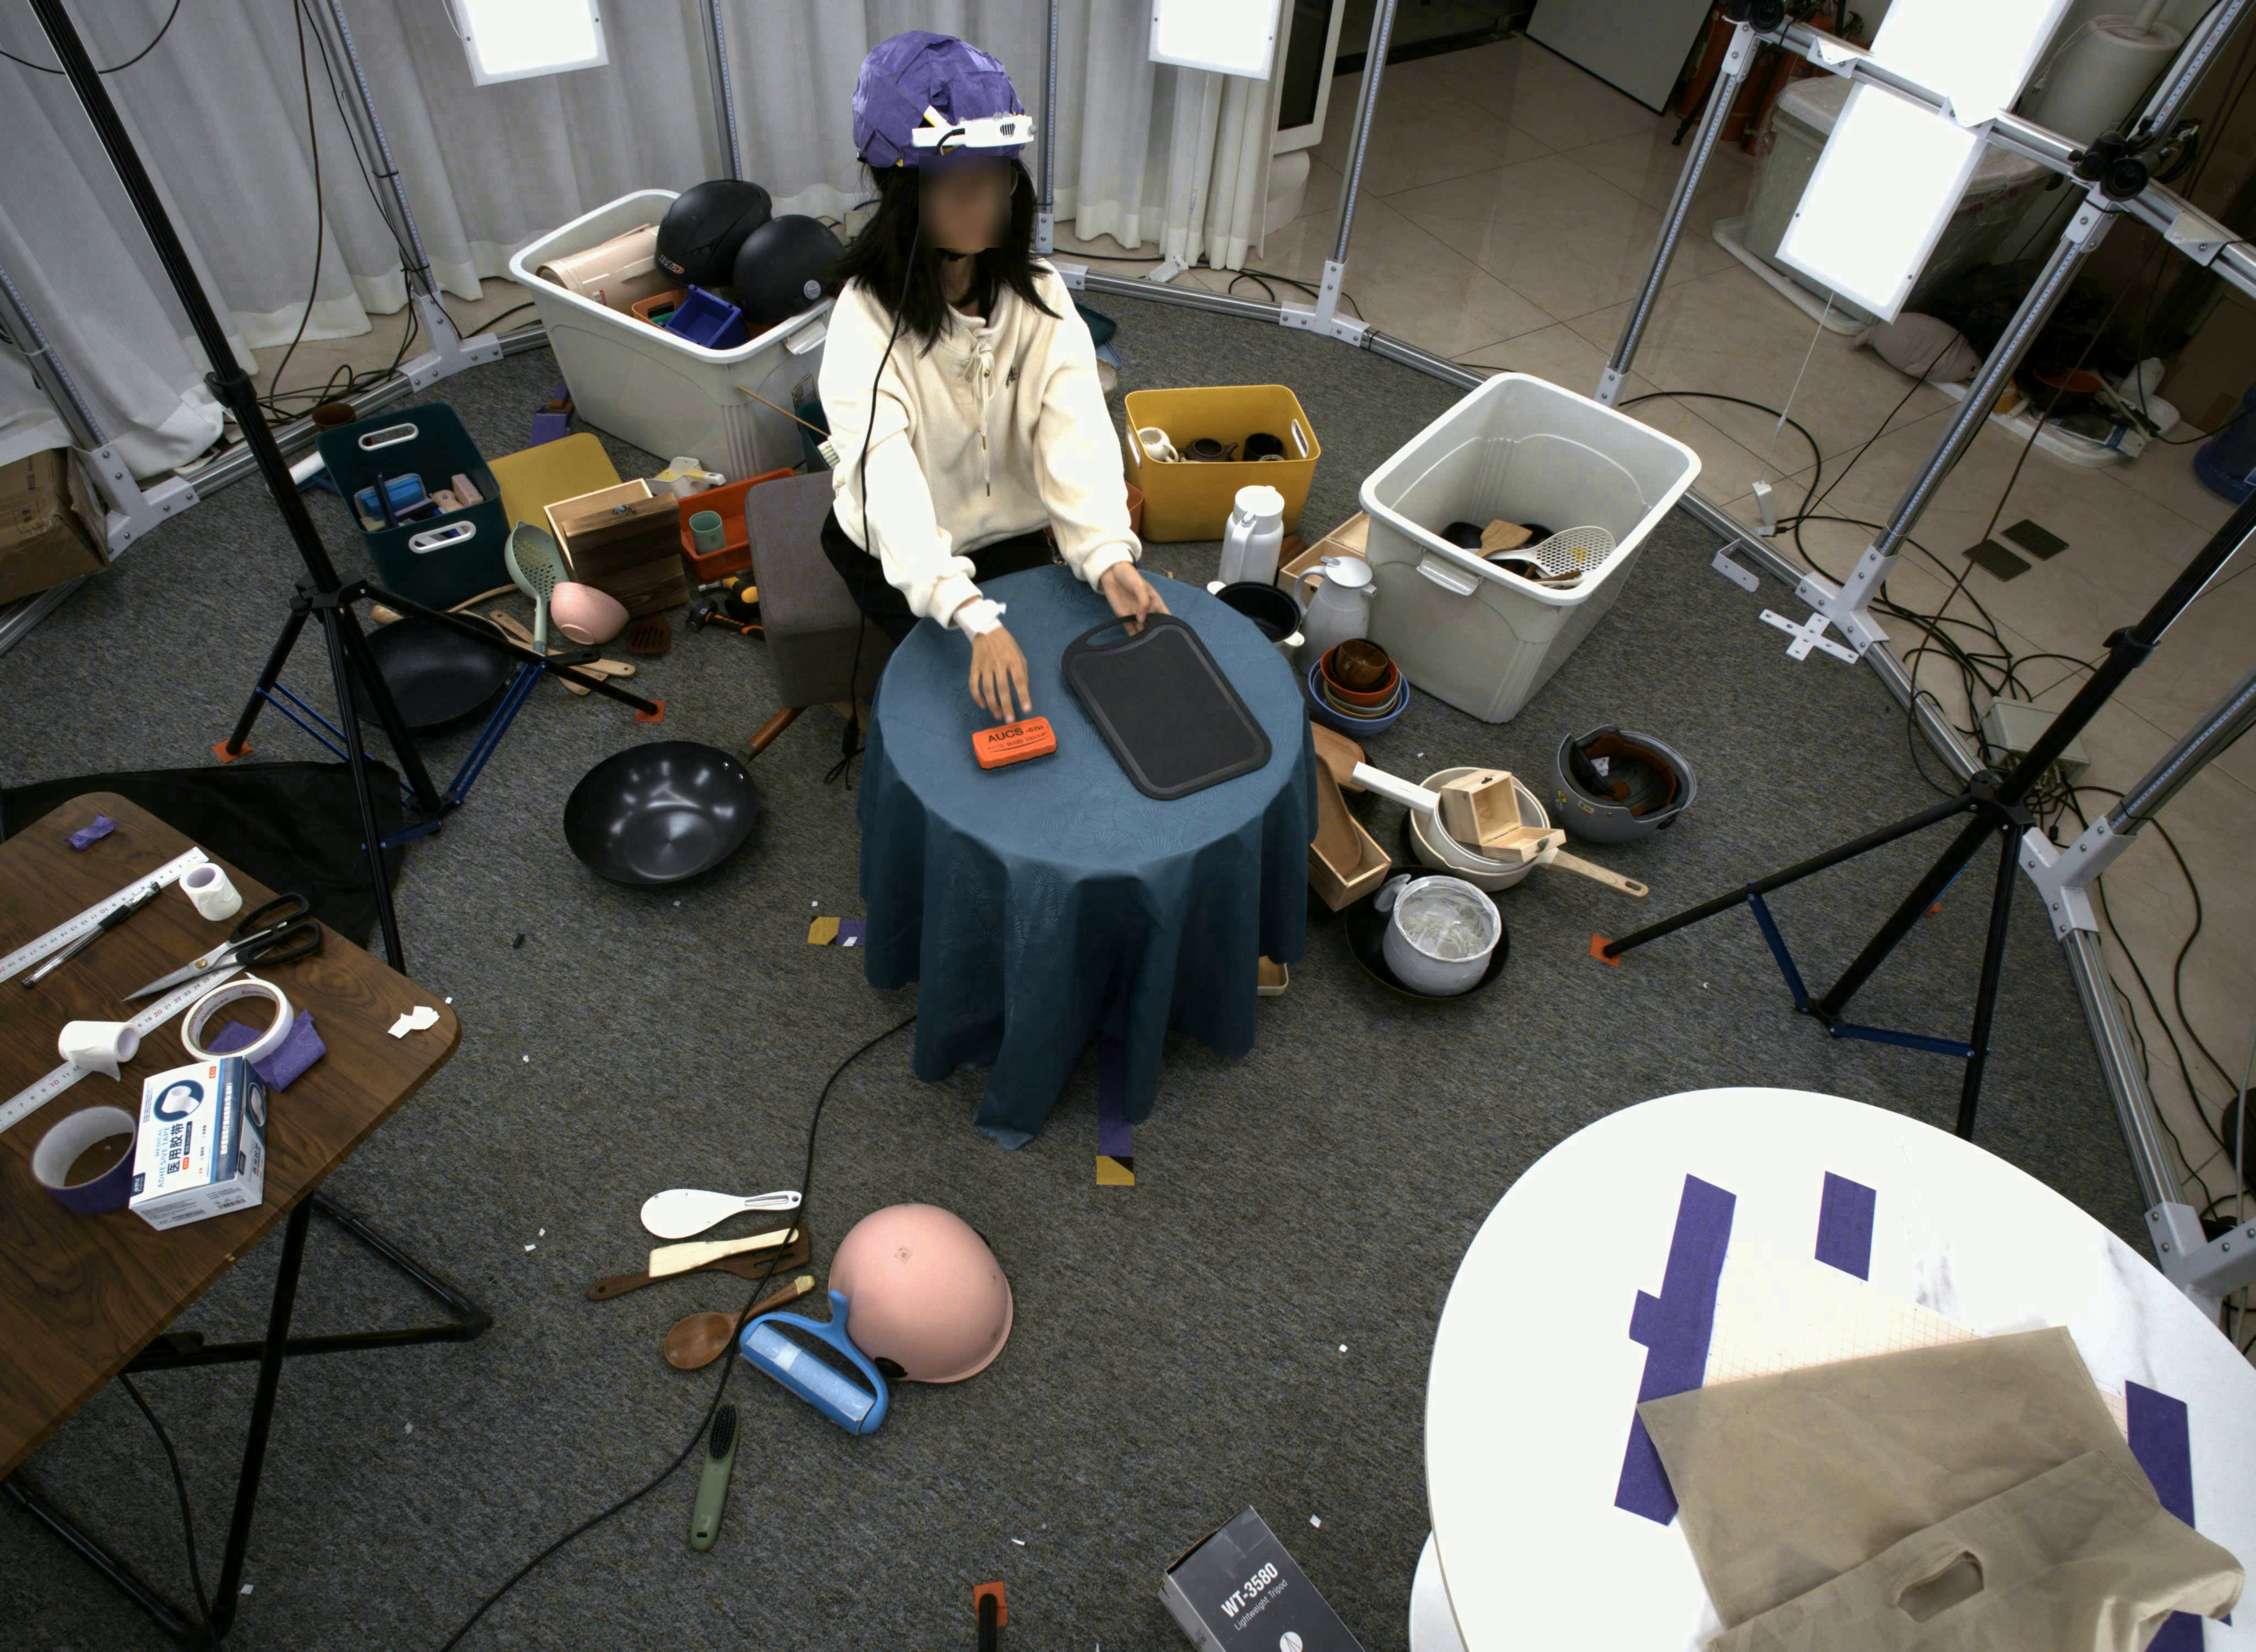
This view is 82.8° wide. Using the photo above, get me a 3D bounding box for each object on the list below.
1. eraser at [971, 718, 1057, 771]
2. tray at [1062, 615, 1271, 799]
[{"bbox_3d":[-0.154,-0.111,1.740,0.108,0.022,0.060,-15,49,-17],"label":"eraser"},{"bbox_3d":[0.047,-0.180,1.809,0.211,0.009,0.332,-20,58,-18],"label":"tray"}]
